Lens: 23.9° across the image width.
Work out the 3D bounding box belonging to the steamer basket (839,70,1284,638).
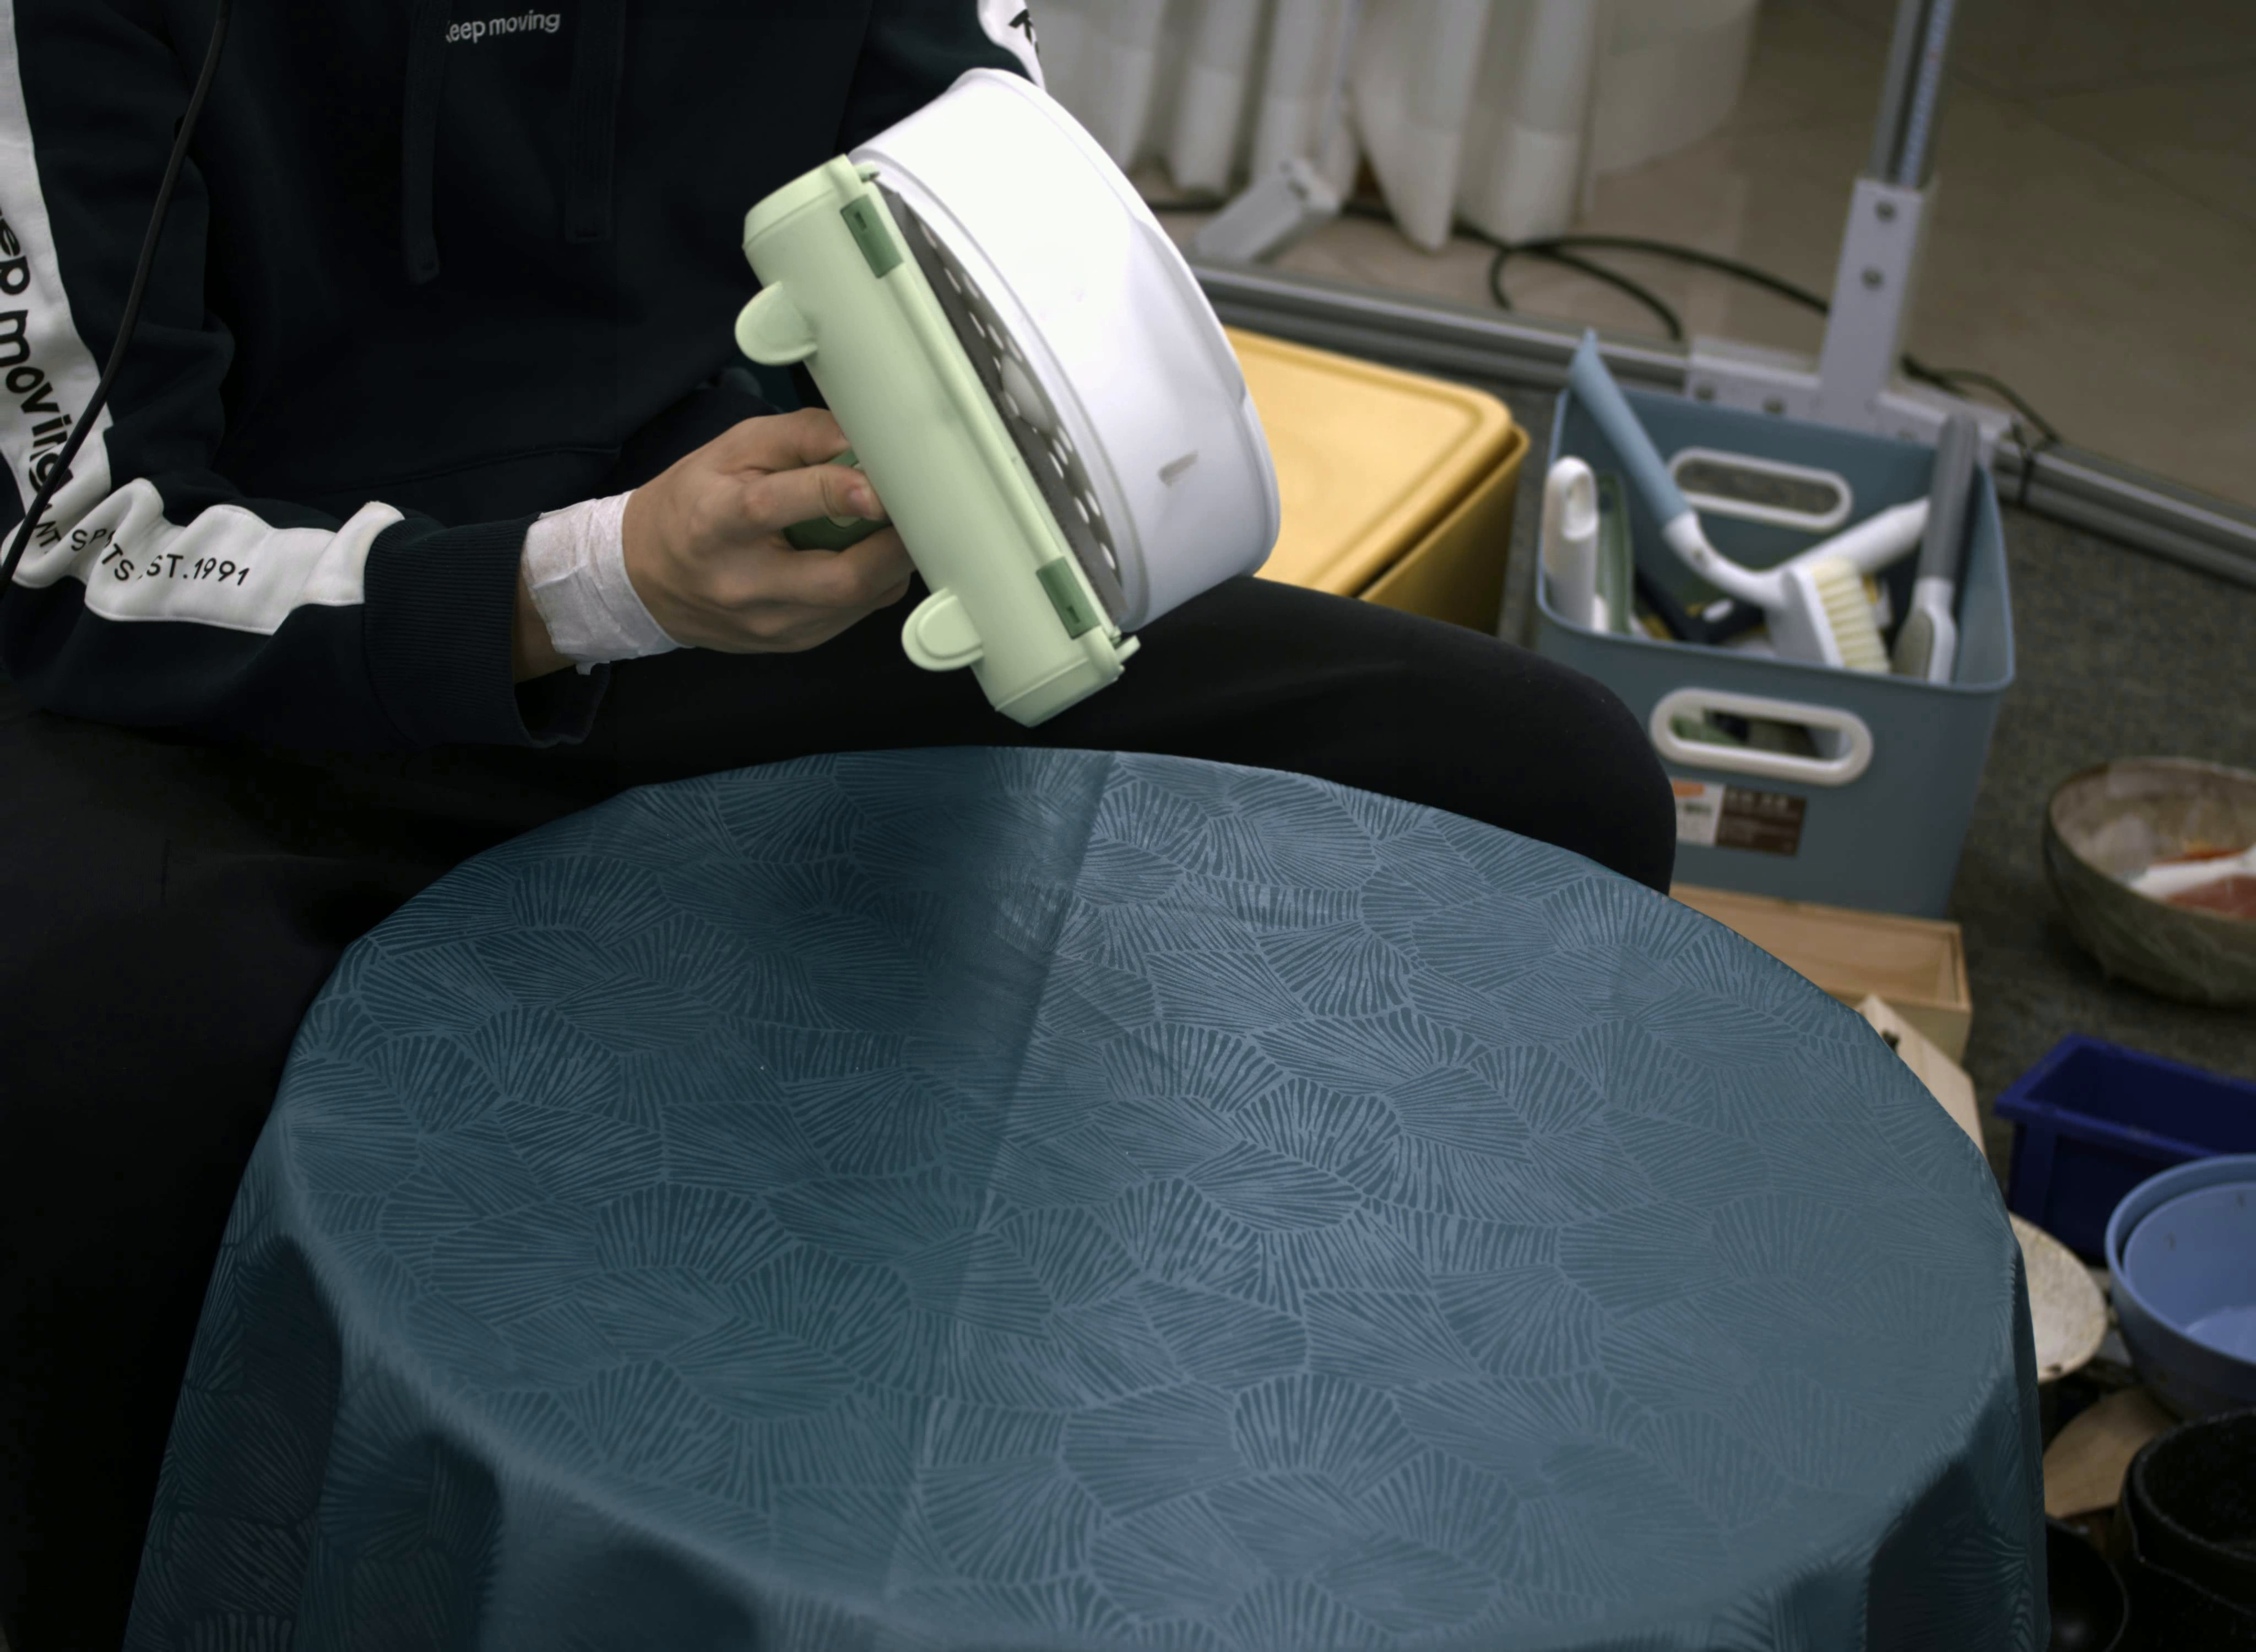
[{"bbox_3d":[-0.028,-0.160,1.852,0.069,0.201,0.231,-31,10,-12],"label":"steamer basket"}]

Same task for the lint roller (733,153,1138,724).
[{"bbox_3d":[-0.100,-0.110,1.817,0.082,0.199,0.183,-29,0,-41],"label":"lint roller"}]
